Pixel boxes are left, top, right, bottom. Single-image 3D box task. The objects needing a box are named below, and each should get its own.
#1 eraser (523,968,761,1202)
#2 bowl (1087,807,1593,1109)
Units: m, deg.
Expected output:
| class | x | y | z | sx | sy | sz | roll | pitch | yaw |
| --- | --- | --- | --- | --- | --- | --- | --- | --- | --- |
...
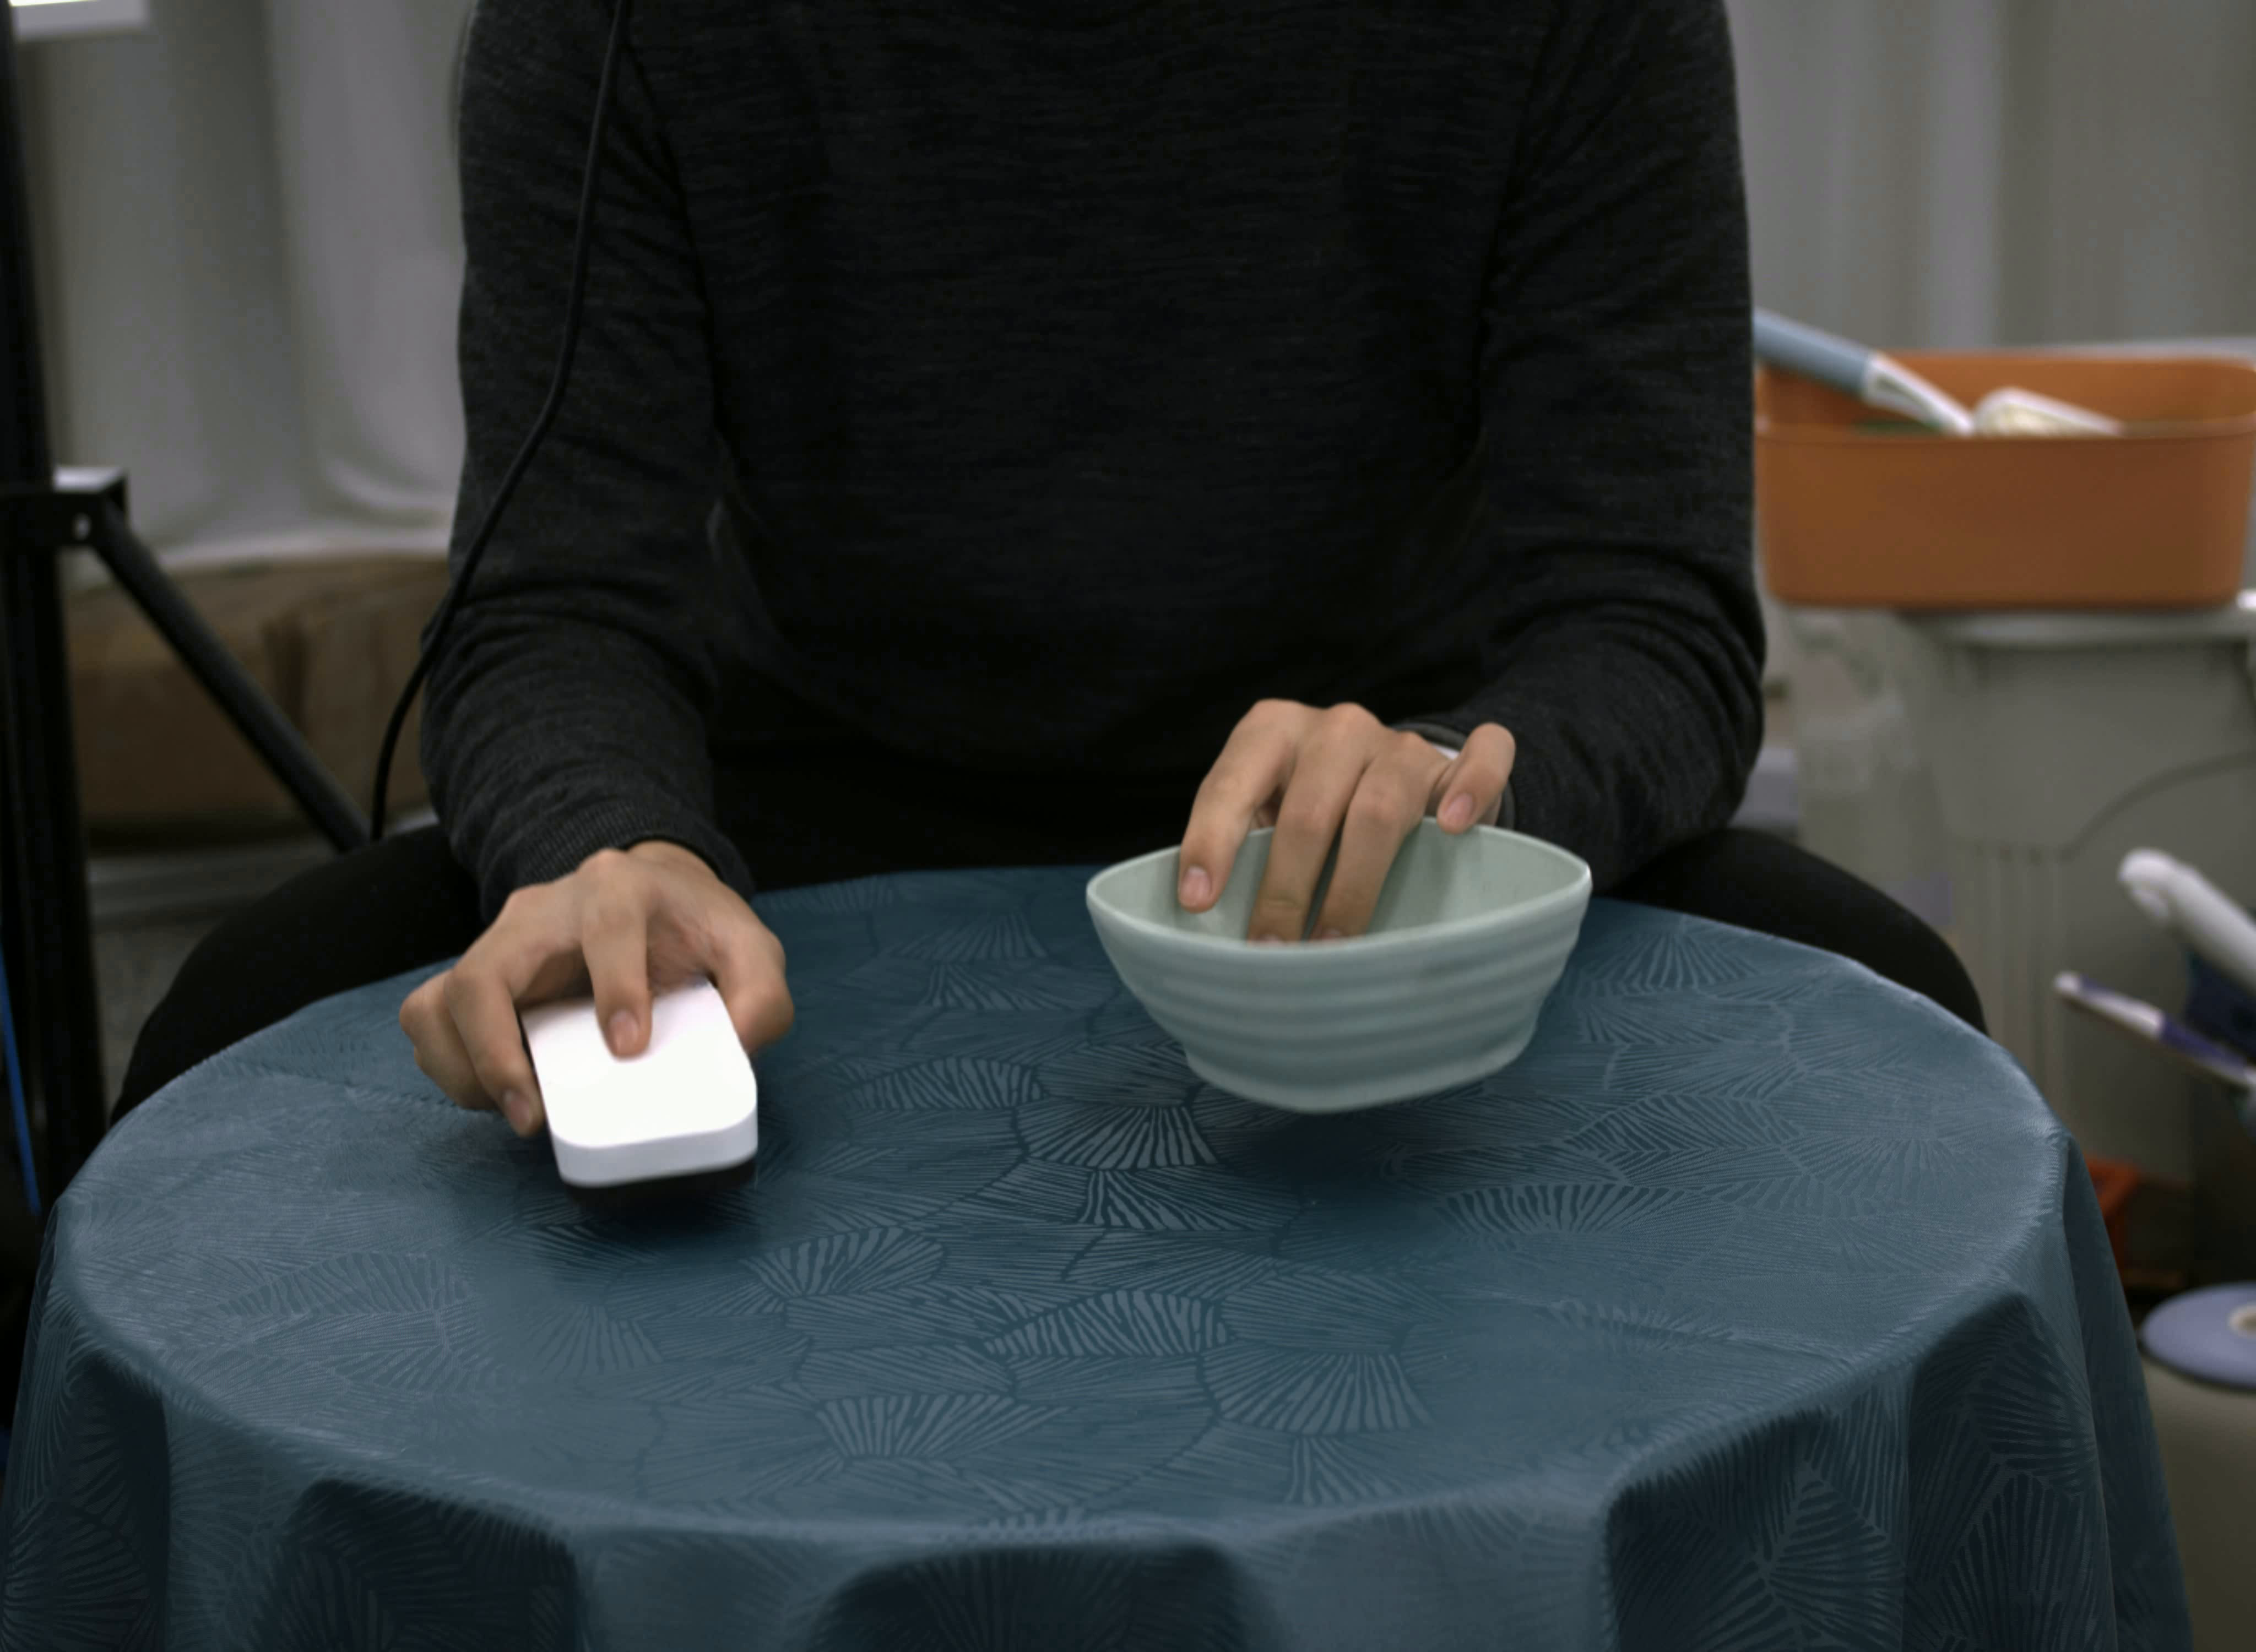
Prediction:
| class | x | y | z | sx | sy | sz | roll | pitch | yaw |
| --- | --- | --- | --- | --- | --- | --- | --- | --- | --- |
| eraser | -0.144 | 0.073 | 1.589 | 0.063 | 0.034 | 0.133 | -8 | 19 | -8 |
| bowl | 0.063 | 0.042 | 1.572 | 0.151 | 0.058 | 0.152 | -4 | 14 | 0 |
